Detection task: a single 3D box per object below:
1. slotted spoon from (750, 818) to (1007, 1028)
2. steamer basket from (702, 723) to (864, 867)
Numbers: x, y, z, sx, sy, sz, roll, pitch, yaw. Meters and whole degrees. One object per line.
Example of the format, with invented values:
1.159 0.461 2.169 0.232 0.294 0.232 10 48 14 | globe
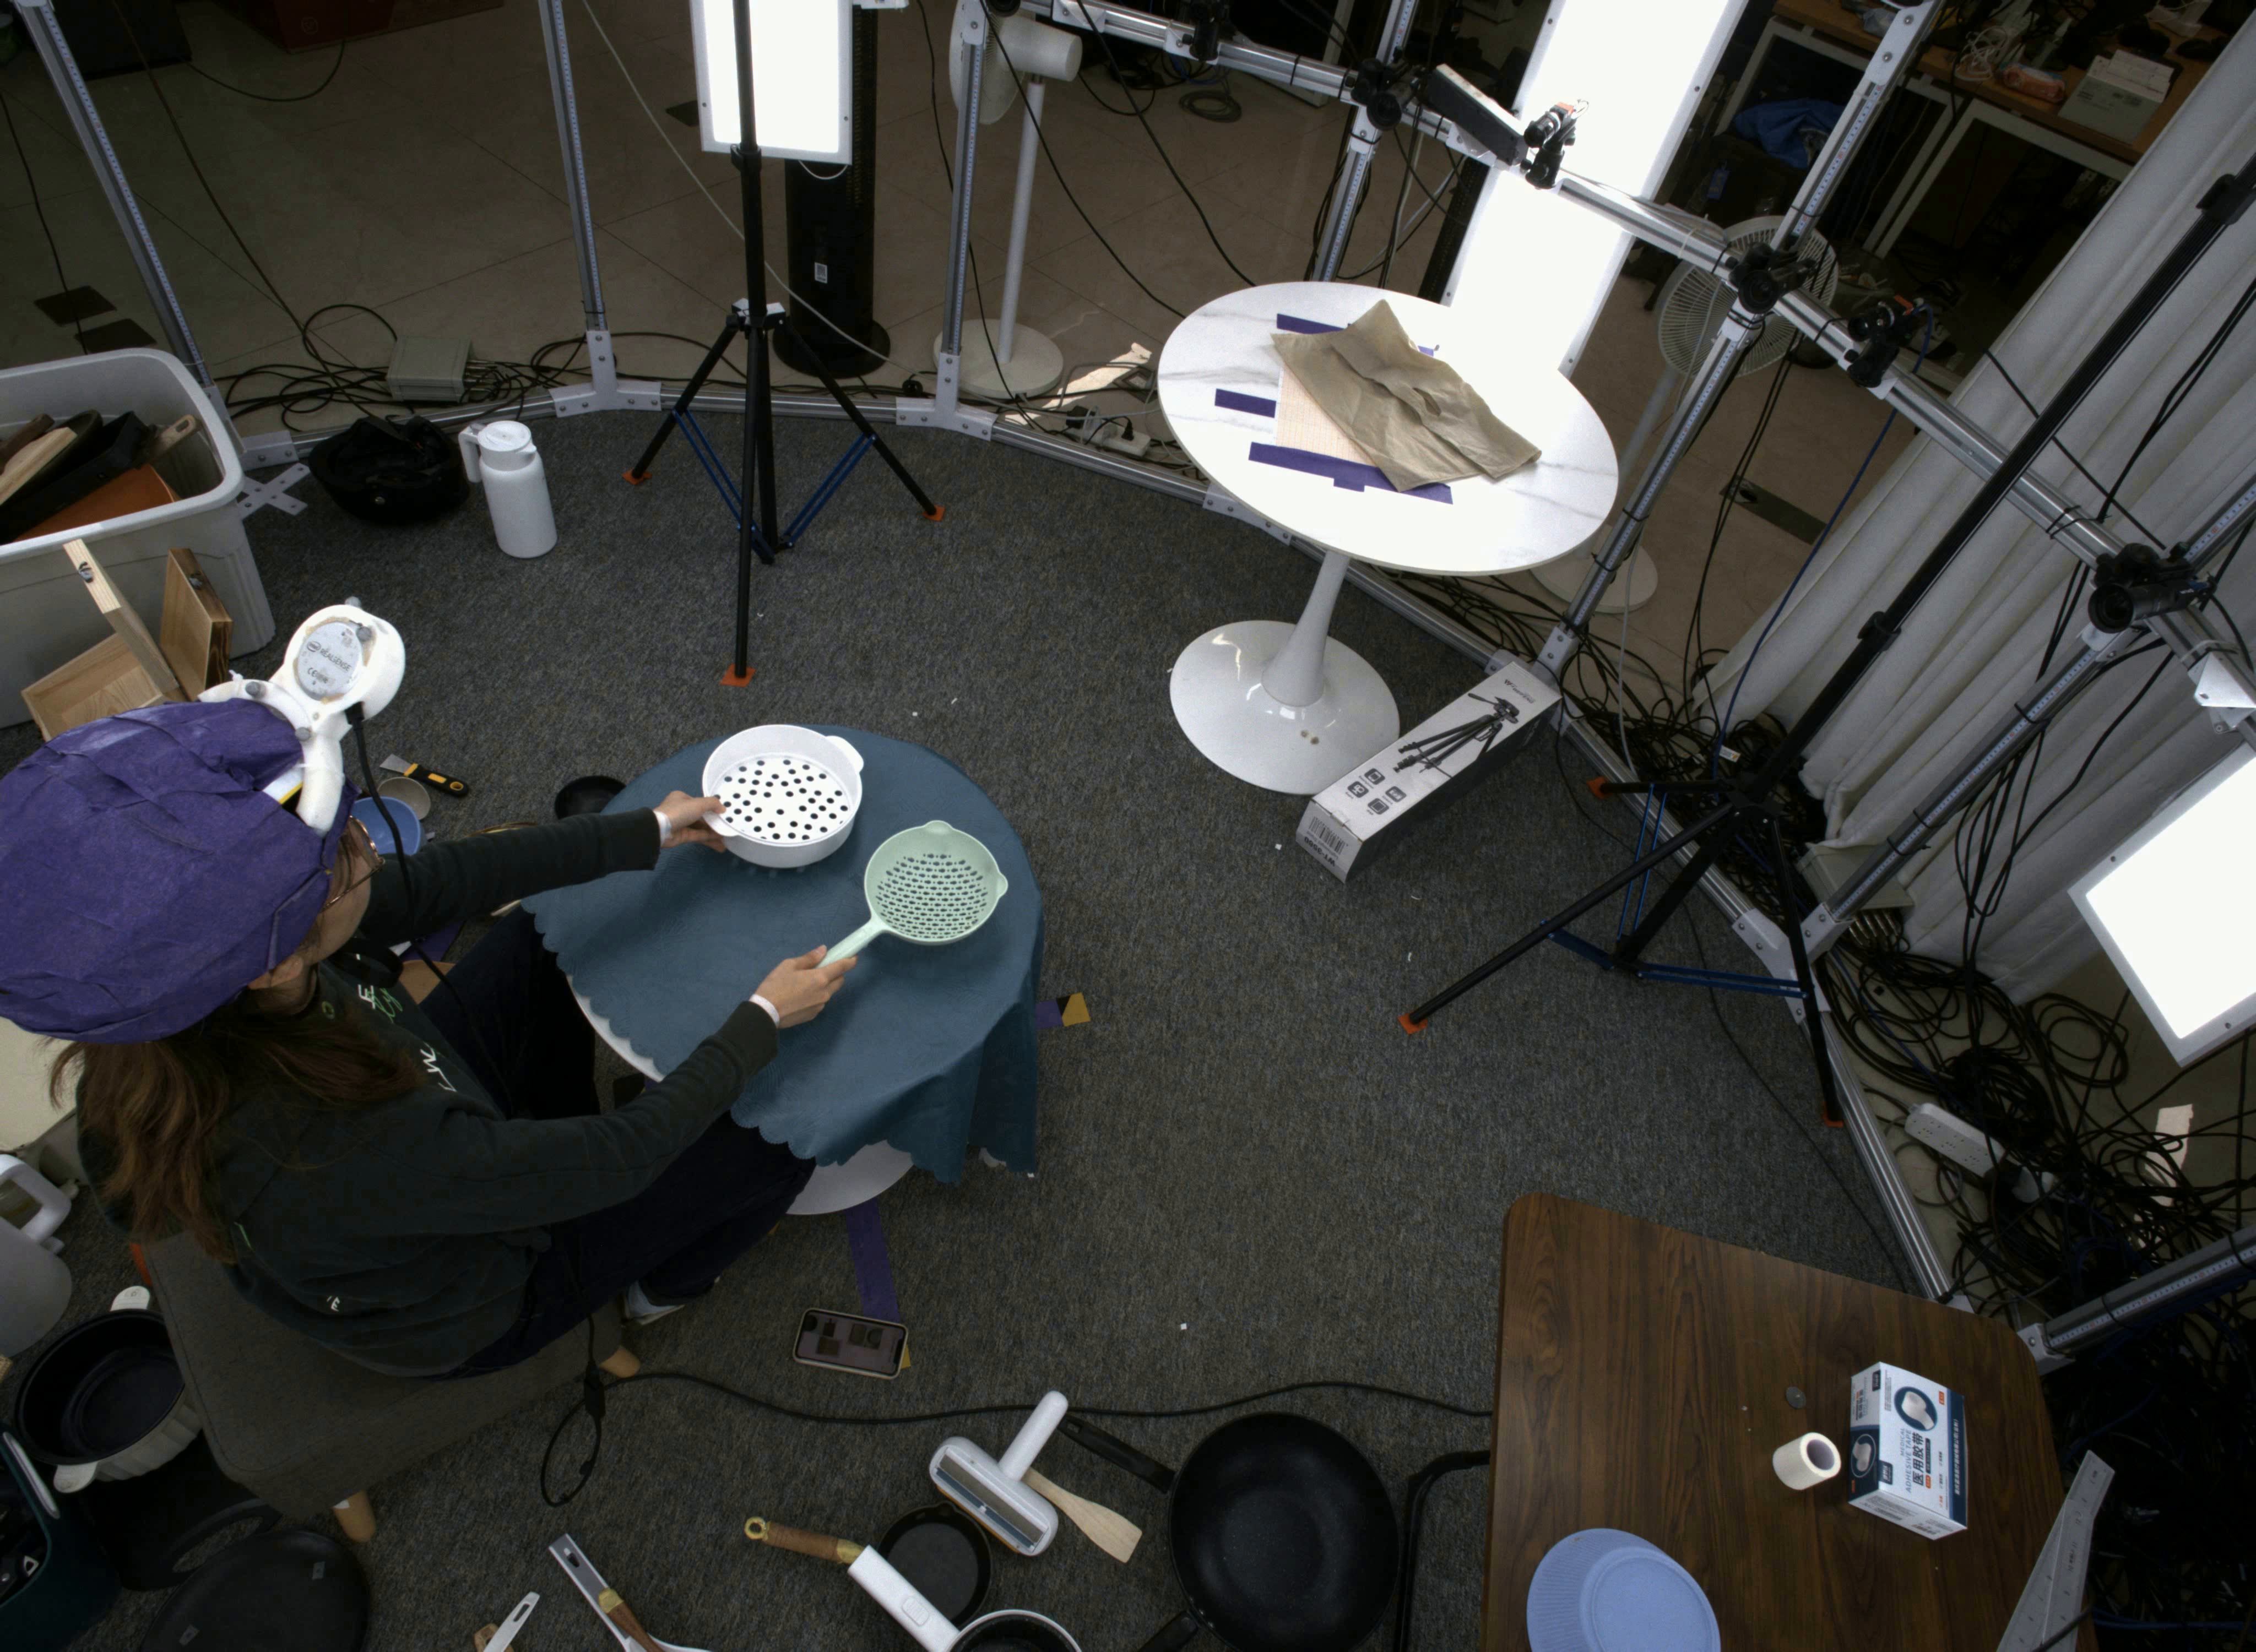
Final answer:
-0.312 0.126 1.589 0.166 0.077 0.360 42 50 16 | slotted spoon
-0.451 -0.040 1.698 0.198 0.070 0.231 43 52 15 | steamer basket
